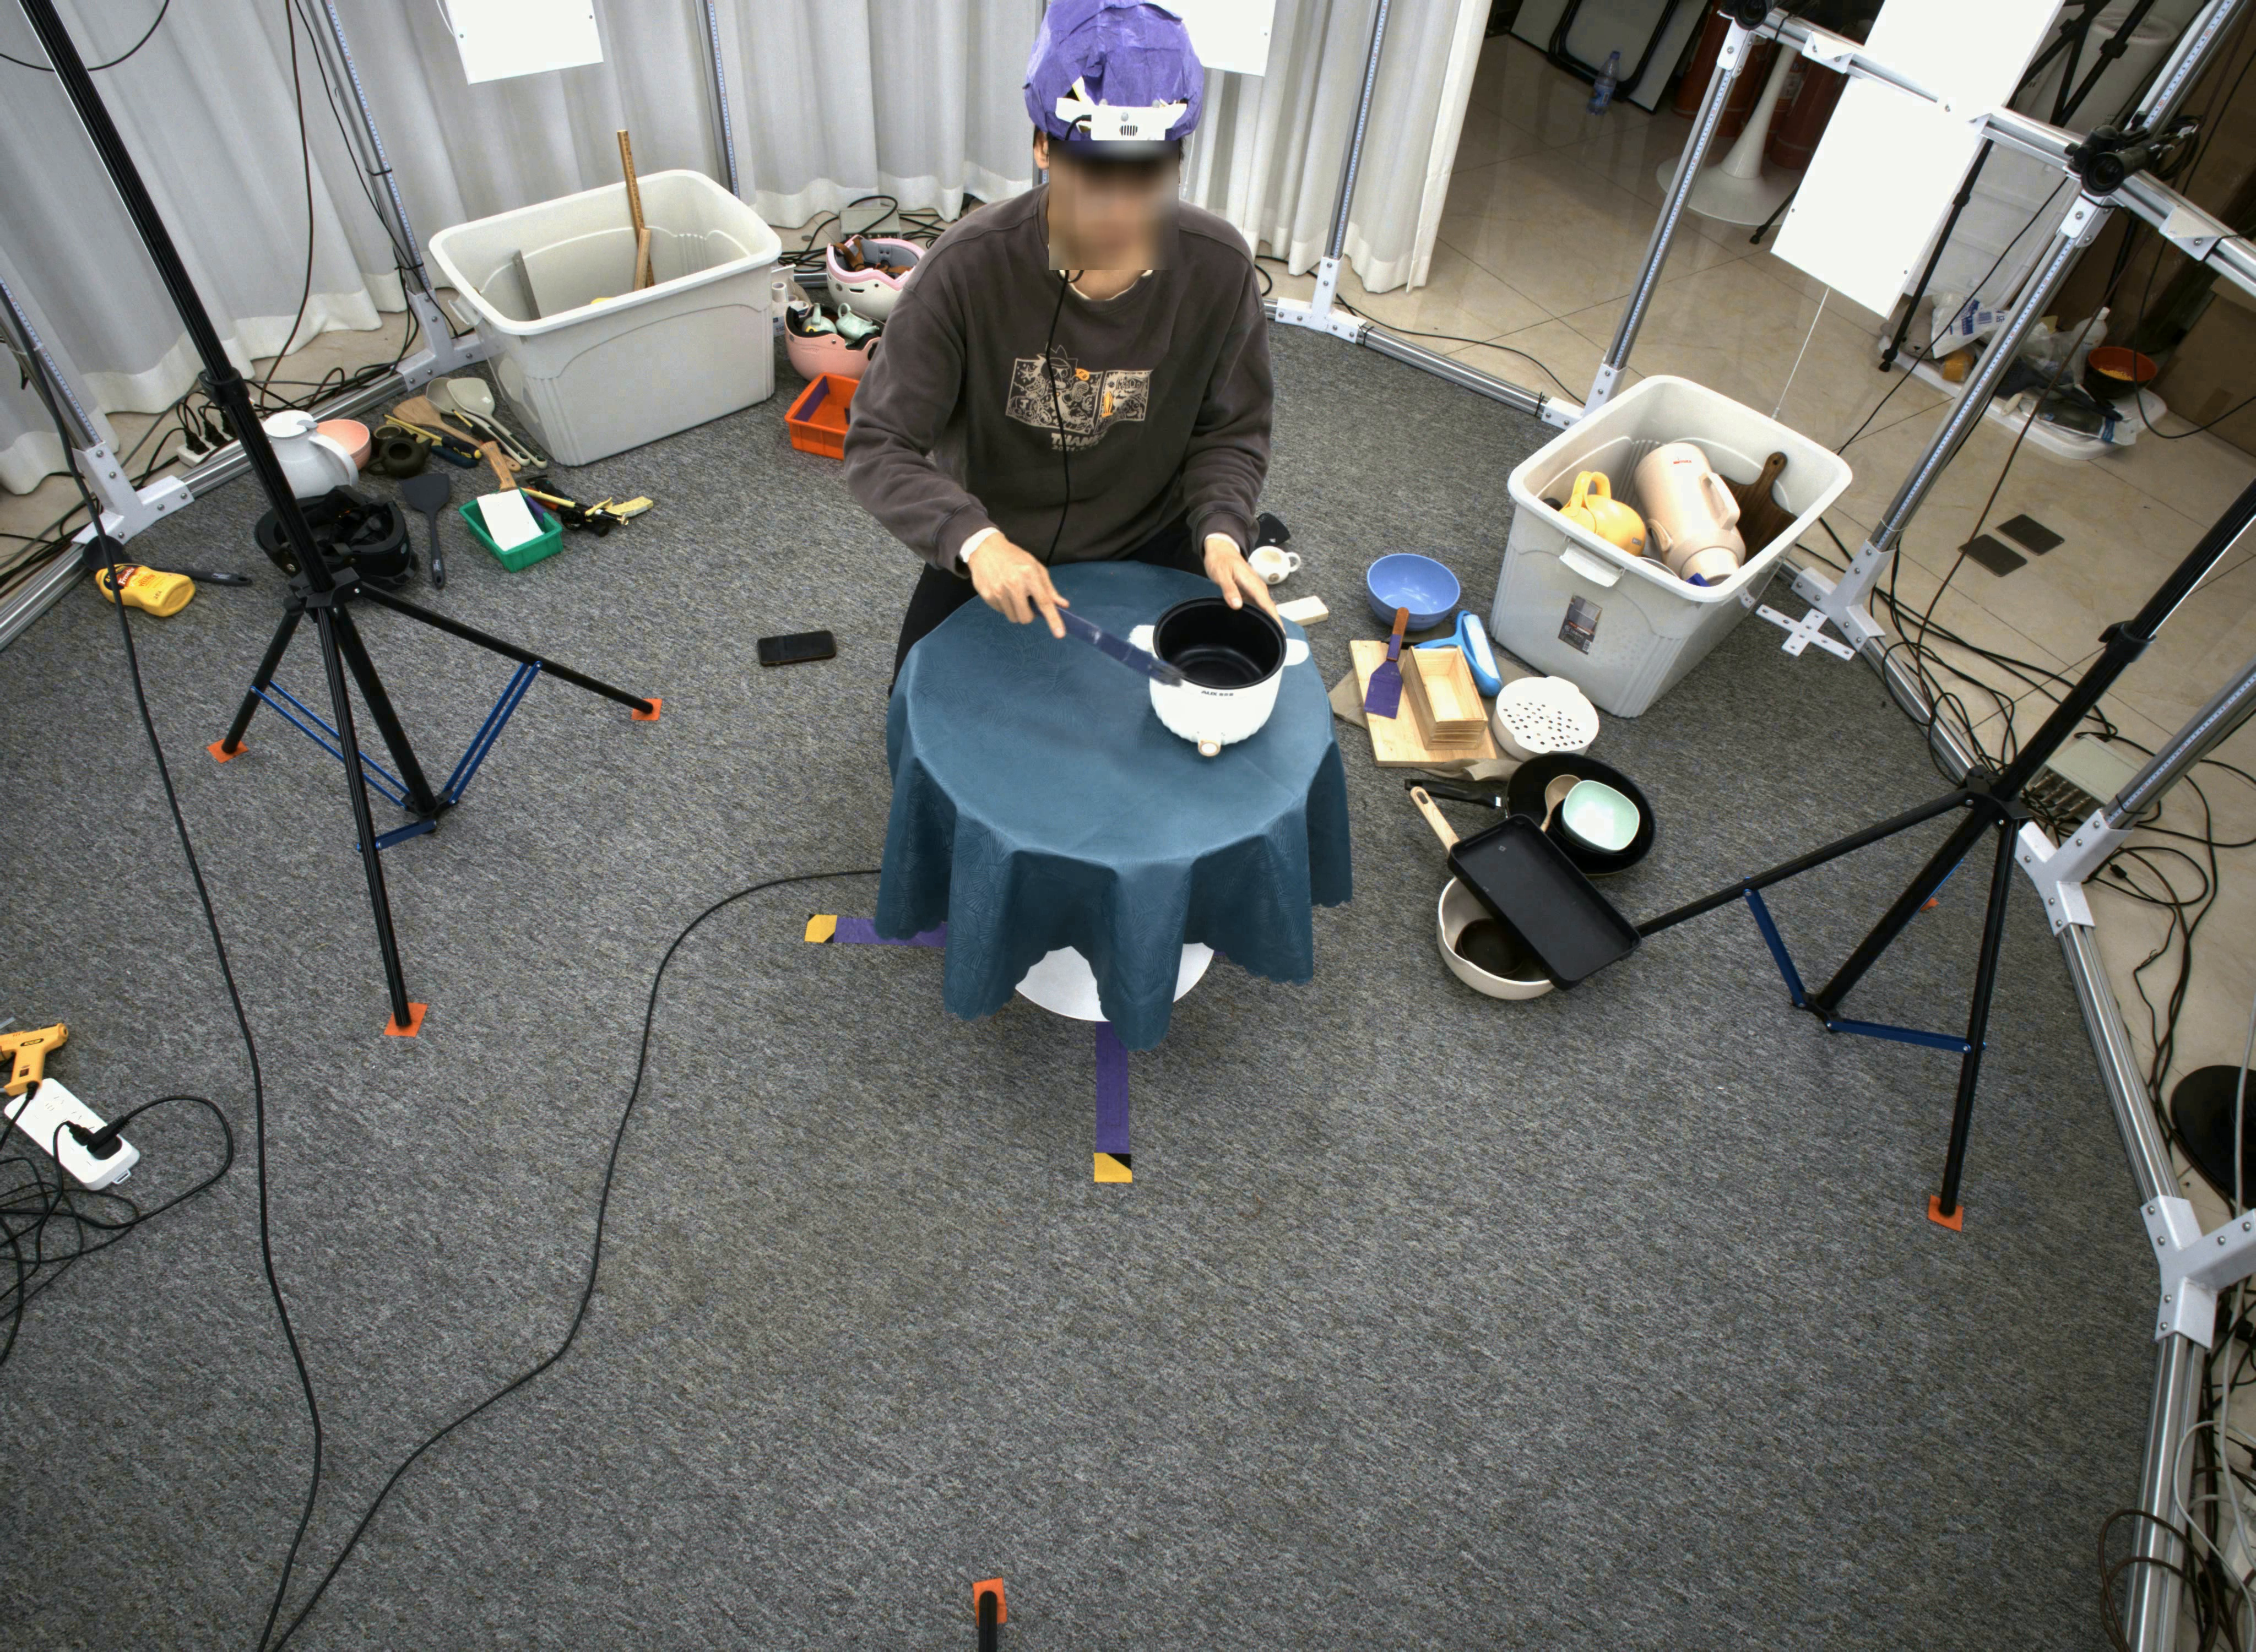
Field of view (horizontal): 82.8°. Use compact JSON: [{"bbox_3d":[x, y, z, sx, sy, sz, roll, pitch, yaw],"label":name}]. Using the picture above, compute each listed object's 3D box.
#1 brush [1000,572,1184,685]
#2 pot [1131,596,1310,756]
[{"bbox_3d":[-0.047,-0.252,1.638,0.274,0.095,0.033,29,95,8],"label":"brush"},{"bbox_3d":[0.121,-0.202,1.759,0.240,0.139,0.195,4,46,2],"label":"pot"}]
